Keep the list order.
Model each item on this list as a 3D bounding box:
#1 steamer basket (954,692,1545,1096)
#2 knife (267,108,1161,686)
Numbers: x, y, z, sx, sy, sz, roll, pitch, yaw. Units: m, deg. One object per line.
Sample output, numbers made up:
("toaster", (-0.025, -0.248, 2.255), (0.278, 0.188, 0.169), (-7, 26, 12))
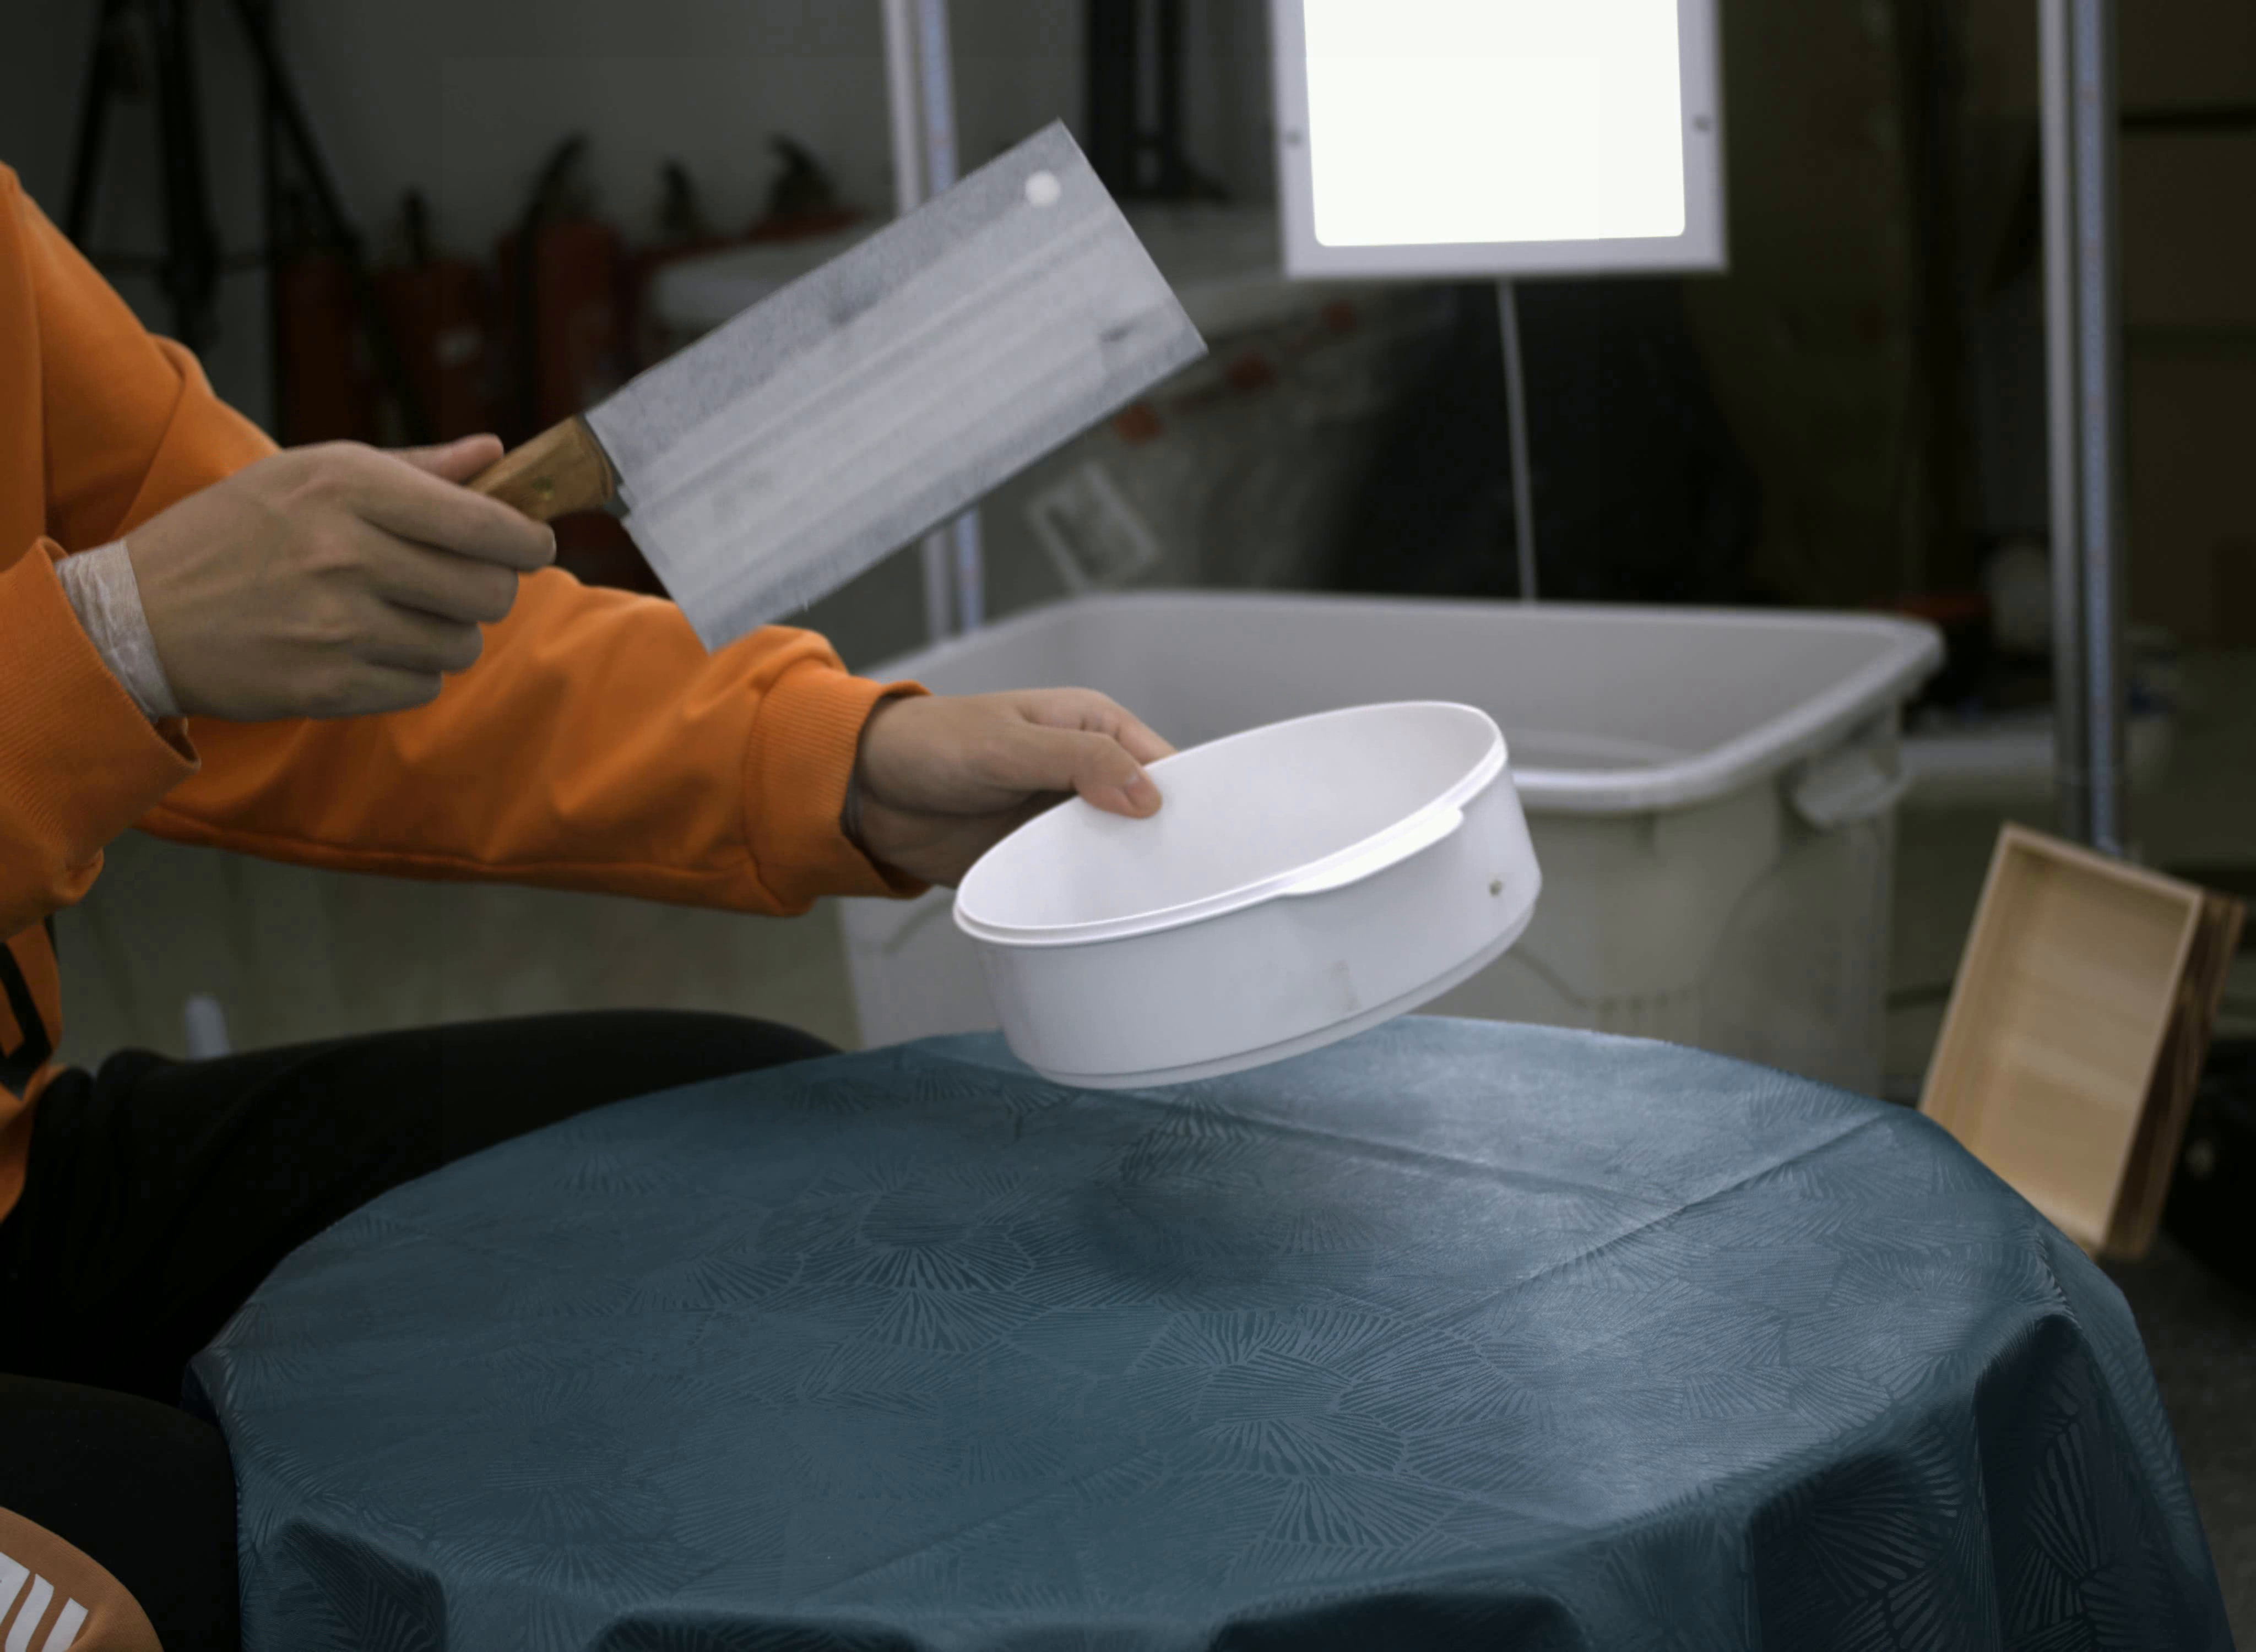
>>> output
("steamer basket", (0.044, 0.024, 1.882), (0.198, 0.069, 0.234), (-27, 18, -22))
("knife", (-0.128, -0.115, 1.751), (0.308, 0.092, 0.021), (-31, 19, 12))
